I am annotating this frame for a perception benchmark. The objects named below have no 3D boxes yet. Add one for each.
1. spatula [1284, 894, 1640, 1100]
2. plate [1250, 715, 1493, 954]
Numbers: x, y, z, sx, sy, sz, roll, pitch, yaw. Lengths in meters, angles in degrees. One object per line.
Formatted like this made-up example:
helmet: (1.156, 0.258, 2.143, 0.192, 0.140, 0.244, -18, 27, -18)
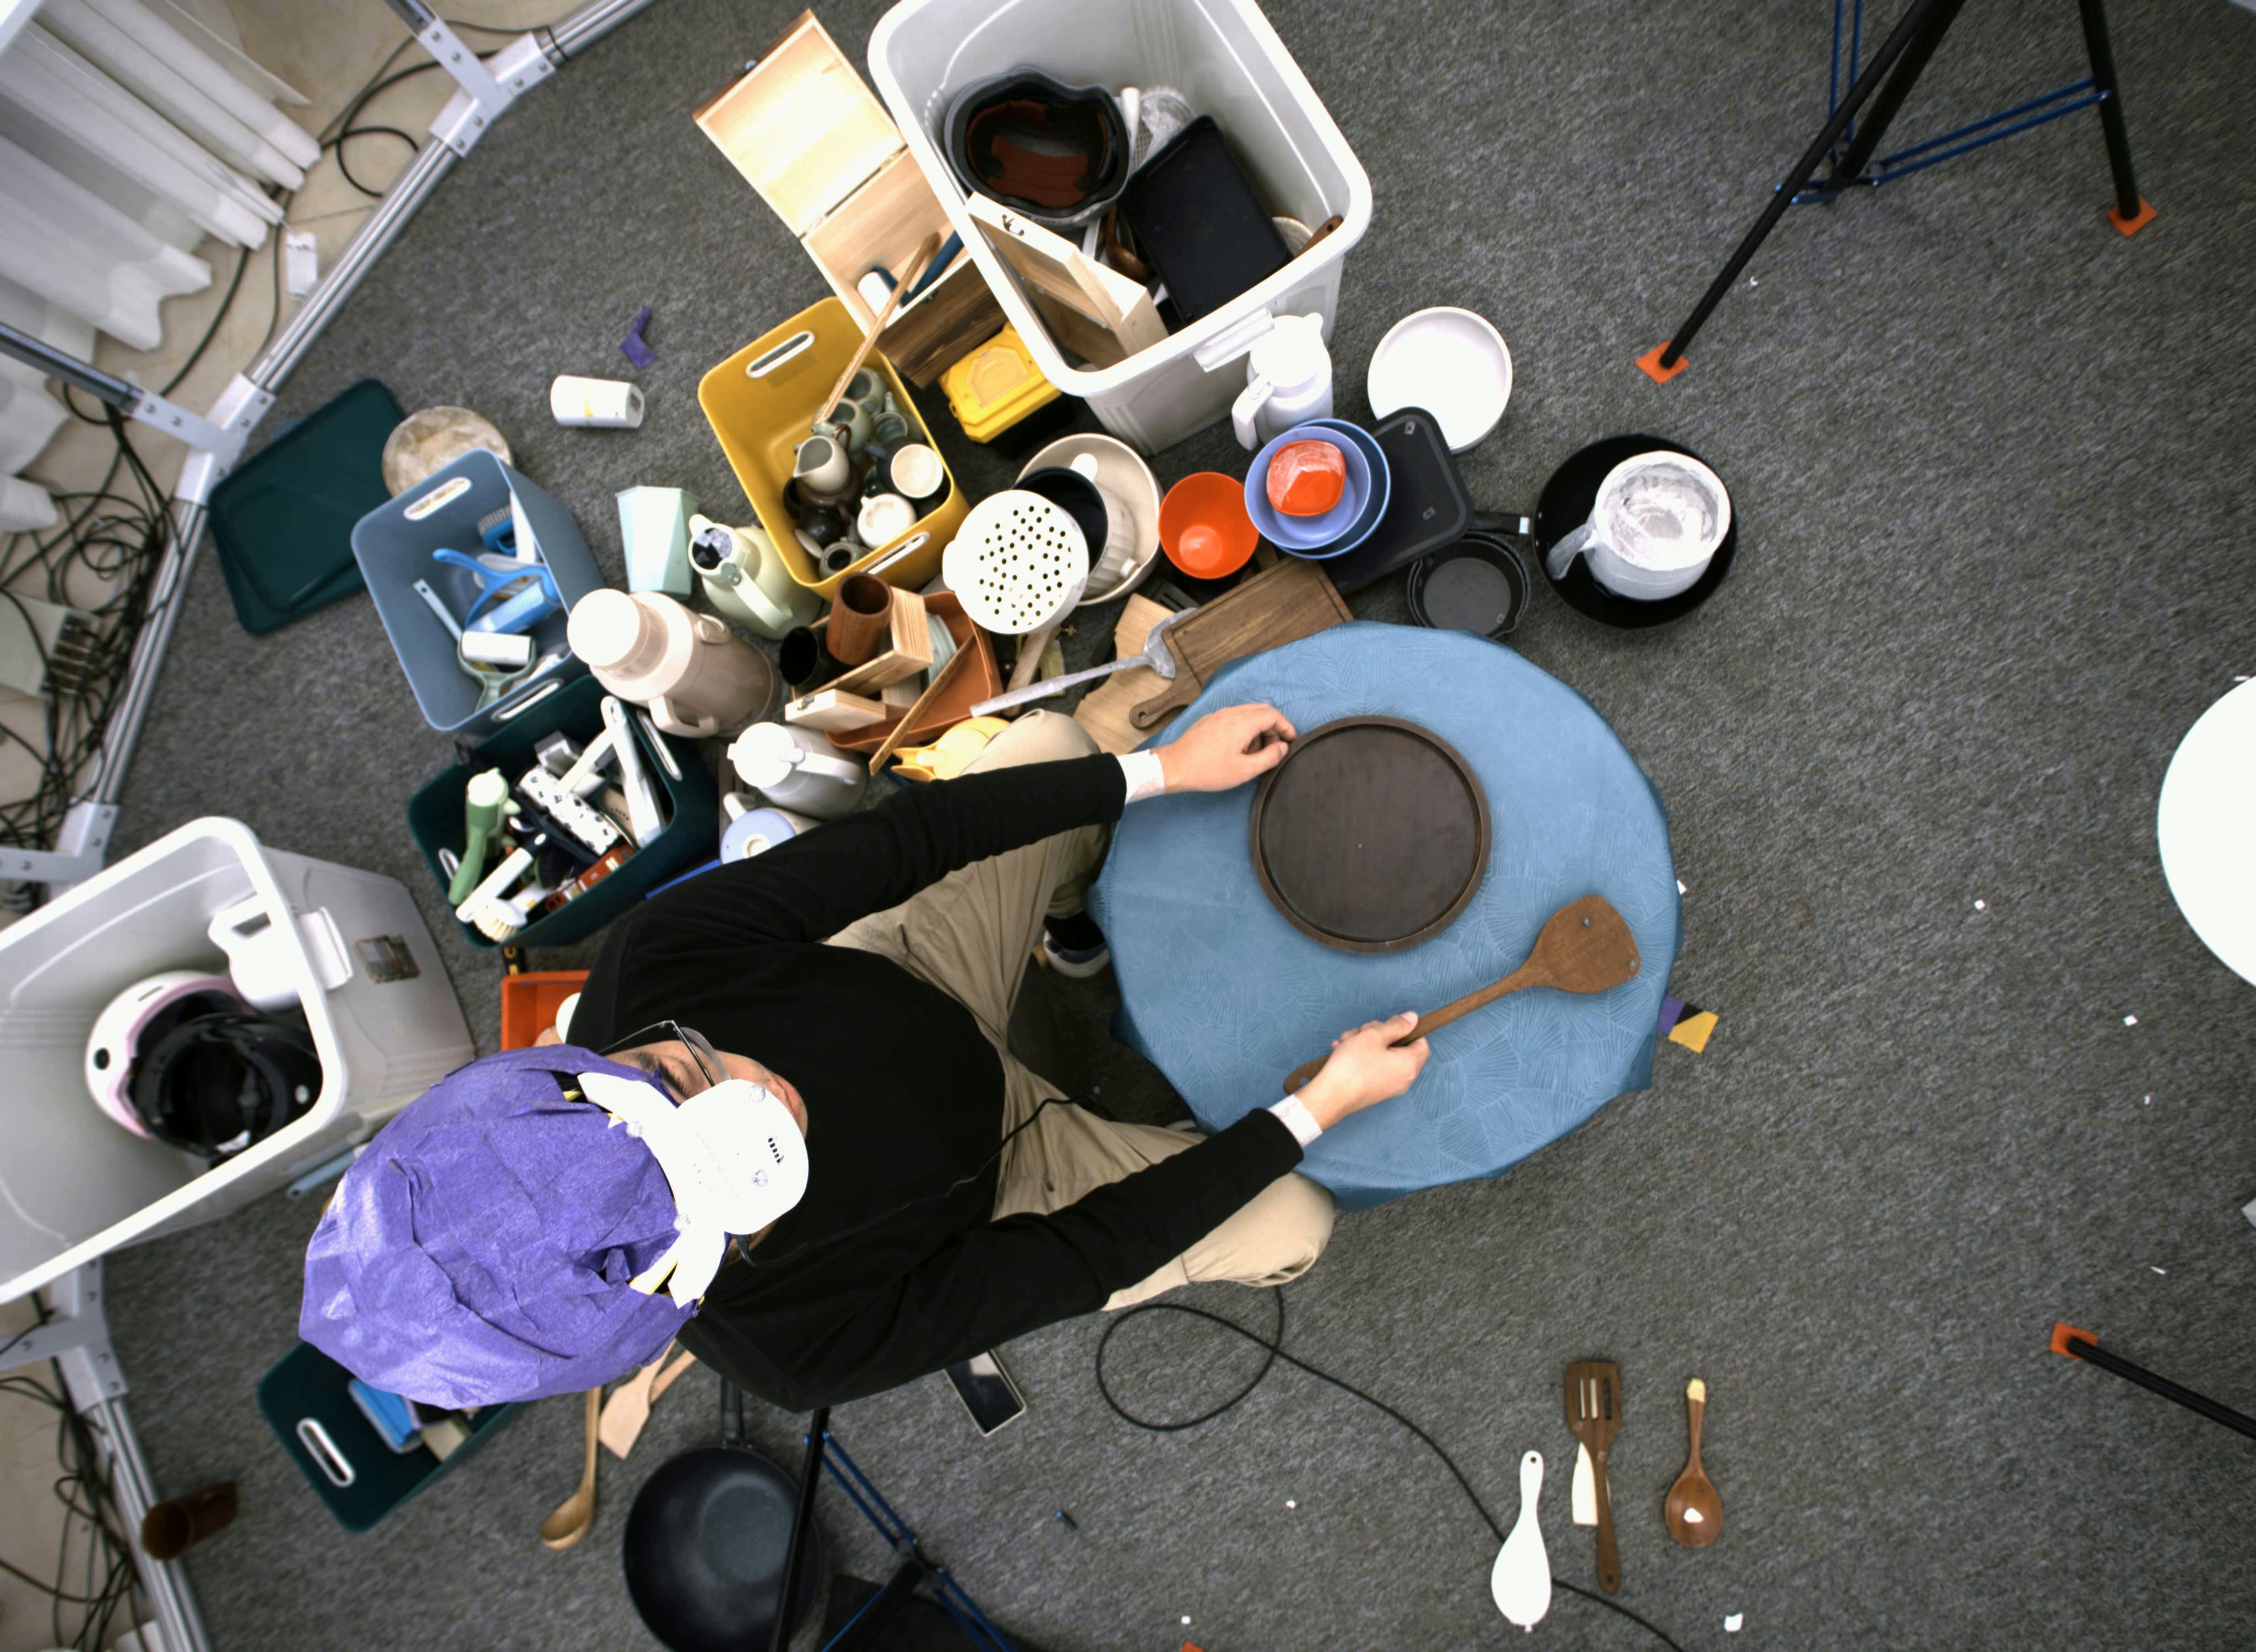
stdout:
spatula: (0.332, 0.184, 1.394, 0.386, 0.016, 0.095, -26, 77, 1)
plate: (0.255, 0.007, 1.454, 0.256, 0.029, 0.254, -1, 88, 10)
